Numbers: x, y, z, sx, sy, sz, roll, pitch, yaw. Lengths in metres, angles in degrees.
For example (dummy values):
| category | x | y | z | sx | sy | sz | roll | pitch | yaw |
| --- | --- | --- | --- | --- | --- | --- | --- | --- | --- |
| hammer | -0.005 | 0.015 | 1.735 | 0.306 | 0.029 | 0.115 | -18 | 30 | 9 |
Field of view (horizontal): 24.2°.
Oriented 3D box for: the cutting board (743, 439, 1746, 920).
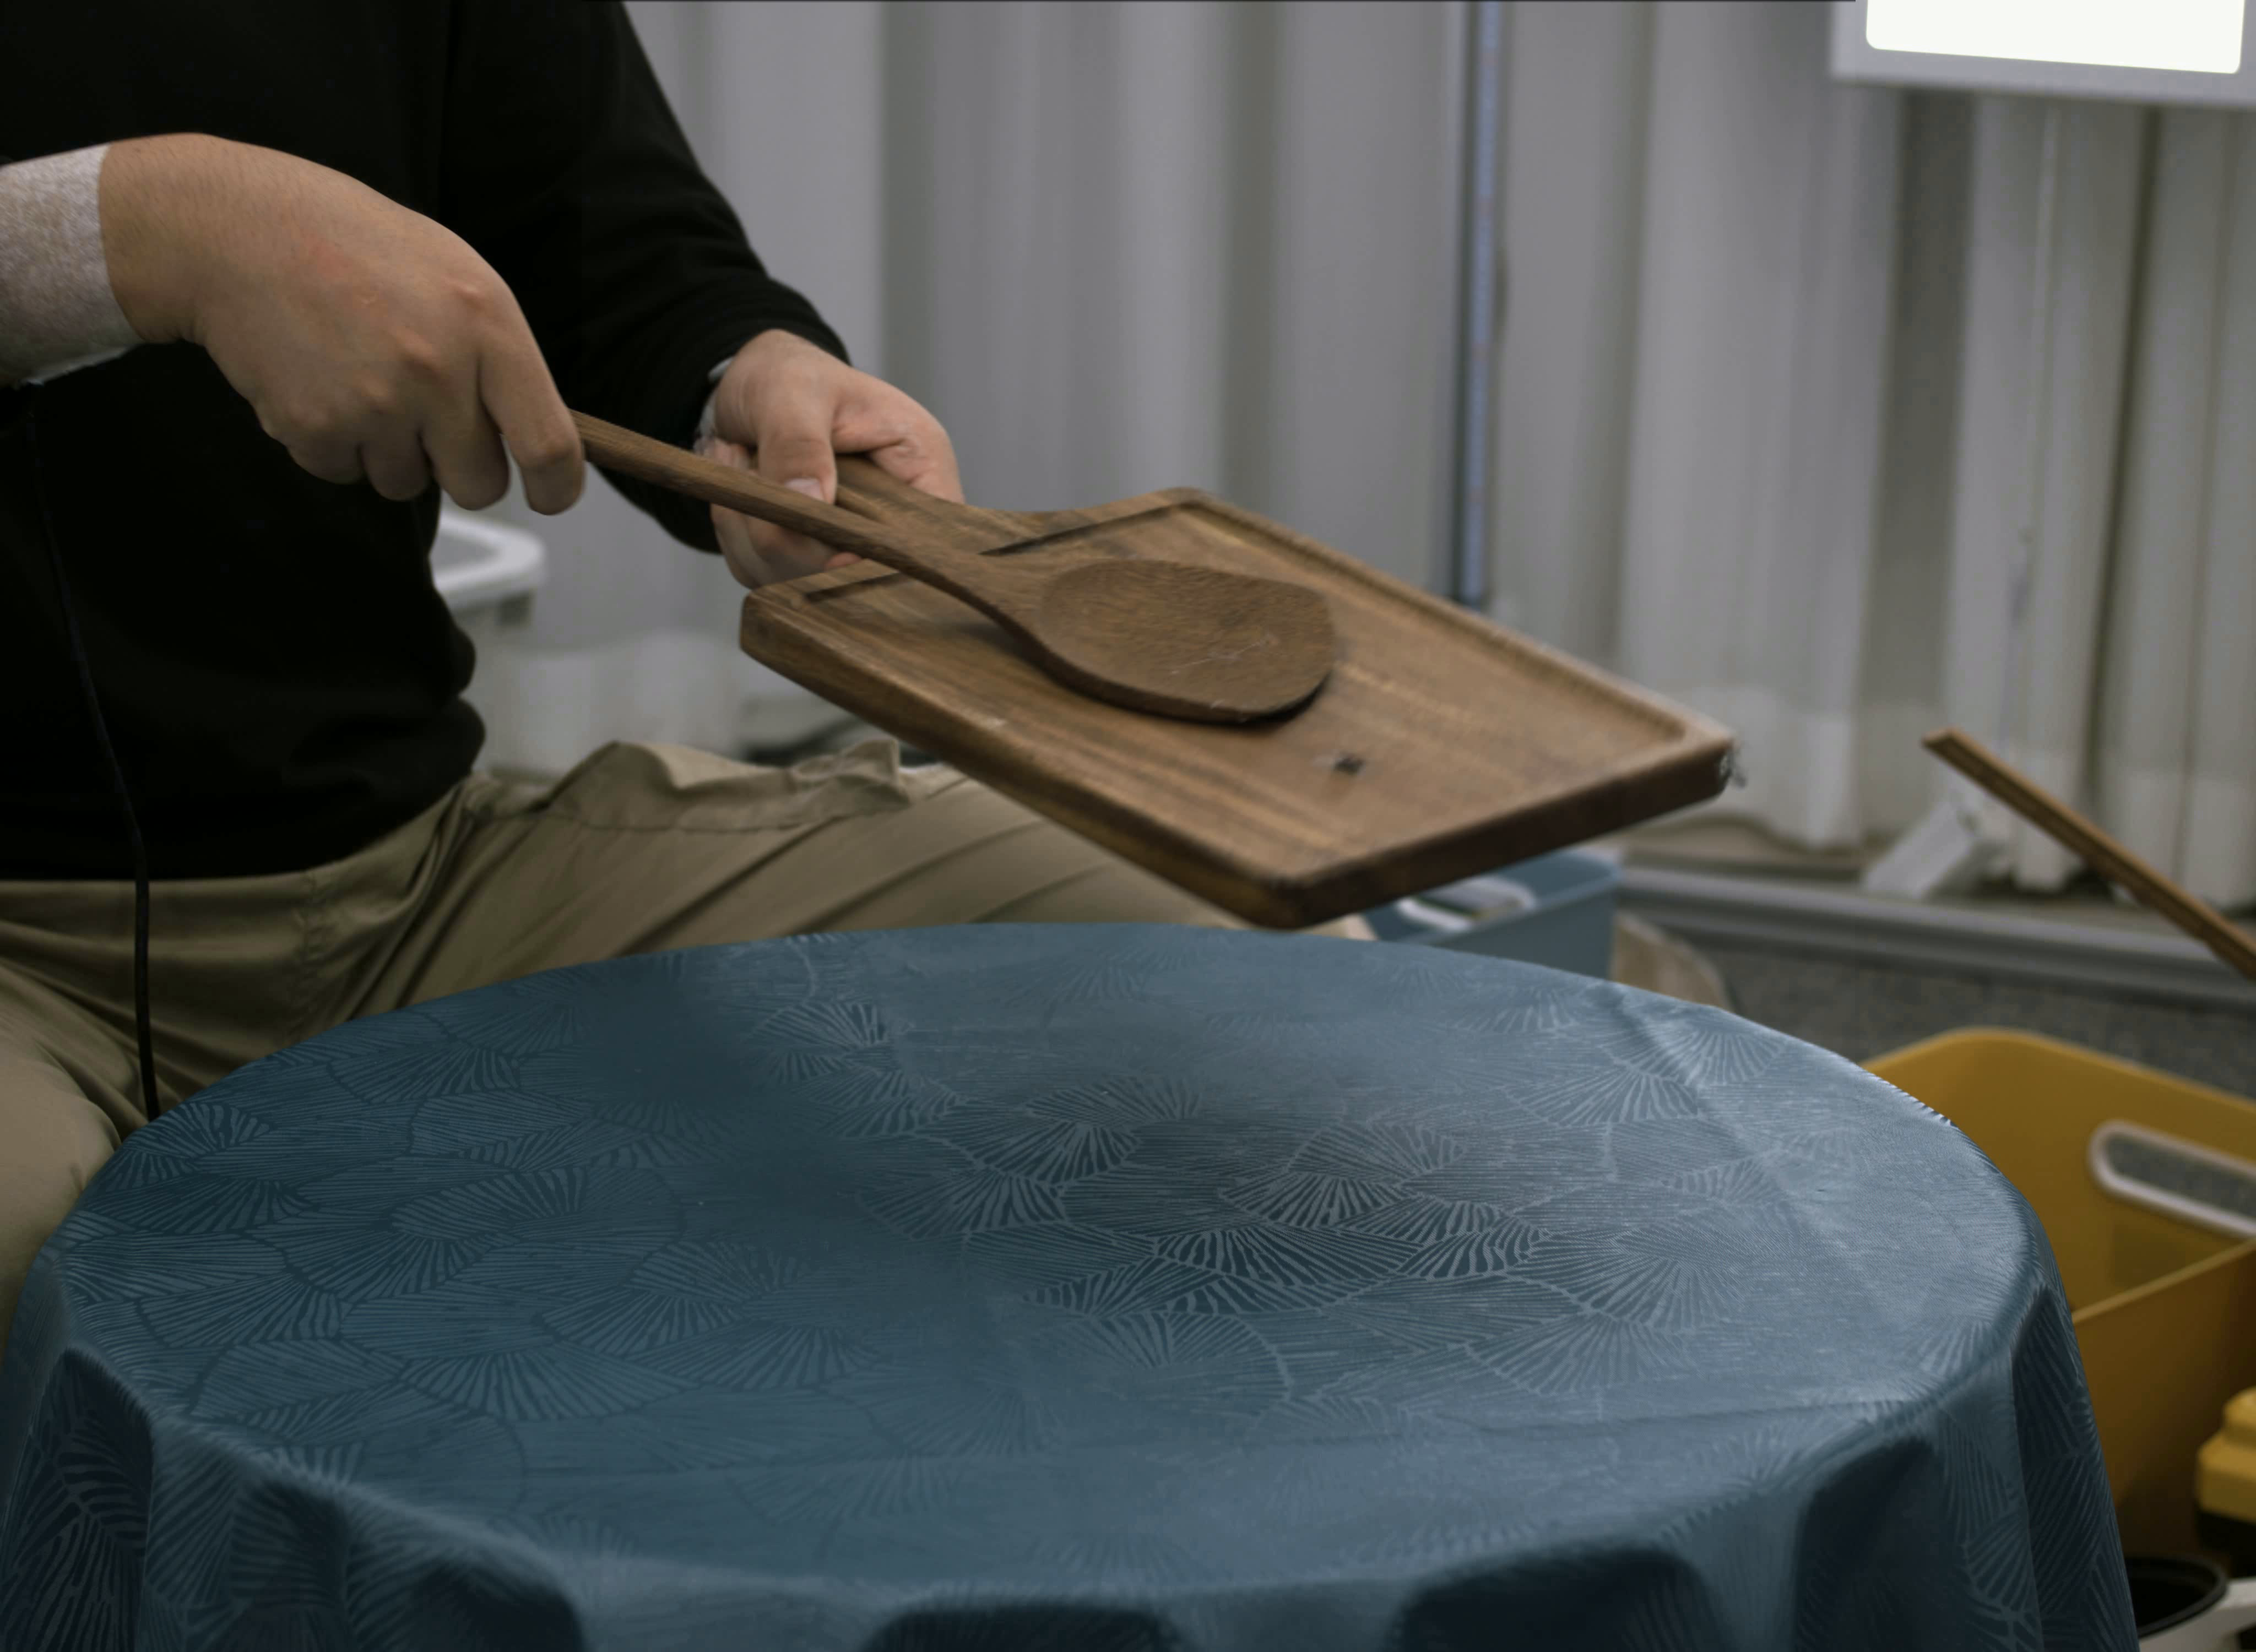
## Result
| category | x | y | z | sx | sy | sz | roll | pitch | yaw |
| --- | --- | --- | --- | --- | --- | --- | --- | --- | --- |
| cutting board | 0.001 | -0.061 | 1.636 | 0.202 | 0.023 | 0.347 | -17 | 32 | -41 |

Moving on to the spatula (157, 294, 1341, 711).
| category | x | y | z | sx | sy | sz | roll | pitch | yaw |
| --- | --- | --- | --- | --- | --- | --- | --- | --- | --- |
| spatula | -0.119 | -0.104 | 1.618 | 0.384 | 0.016 | 0.096 | 18 | 29 | 5 |
